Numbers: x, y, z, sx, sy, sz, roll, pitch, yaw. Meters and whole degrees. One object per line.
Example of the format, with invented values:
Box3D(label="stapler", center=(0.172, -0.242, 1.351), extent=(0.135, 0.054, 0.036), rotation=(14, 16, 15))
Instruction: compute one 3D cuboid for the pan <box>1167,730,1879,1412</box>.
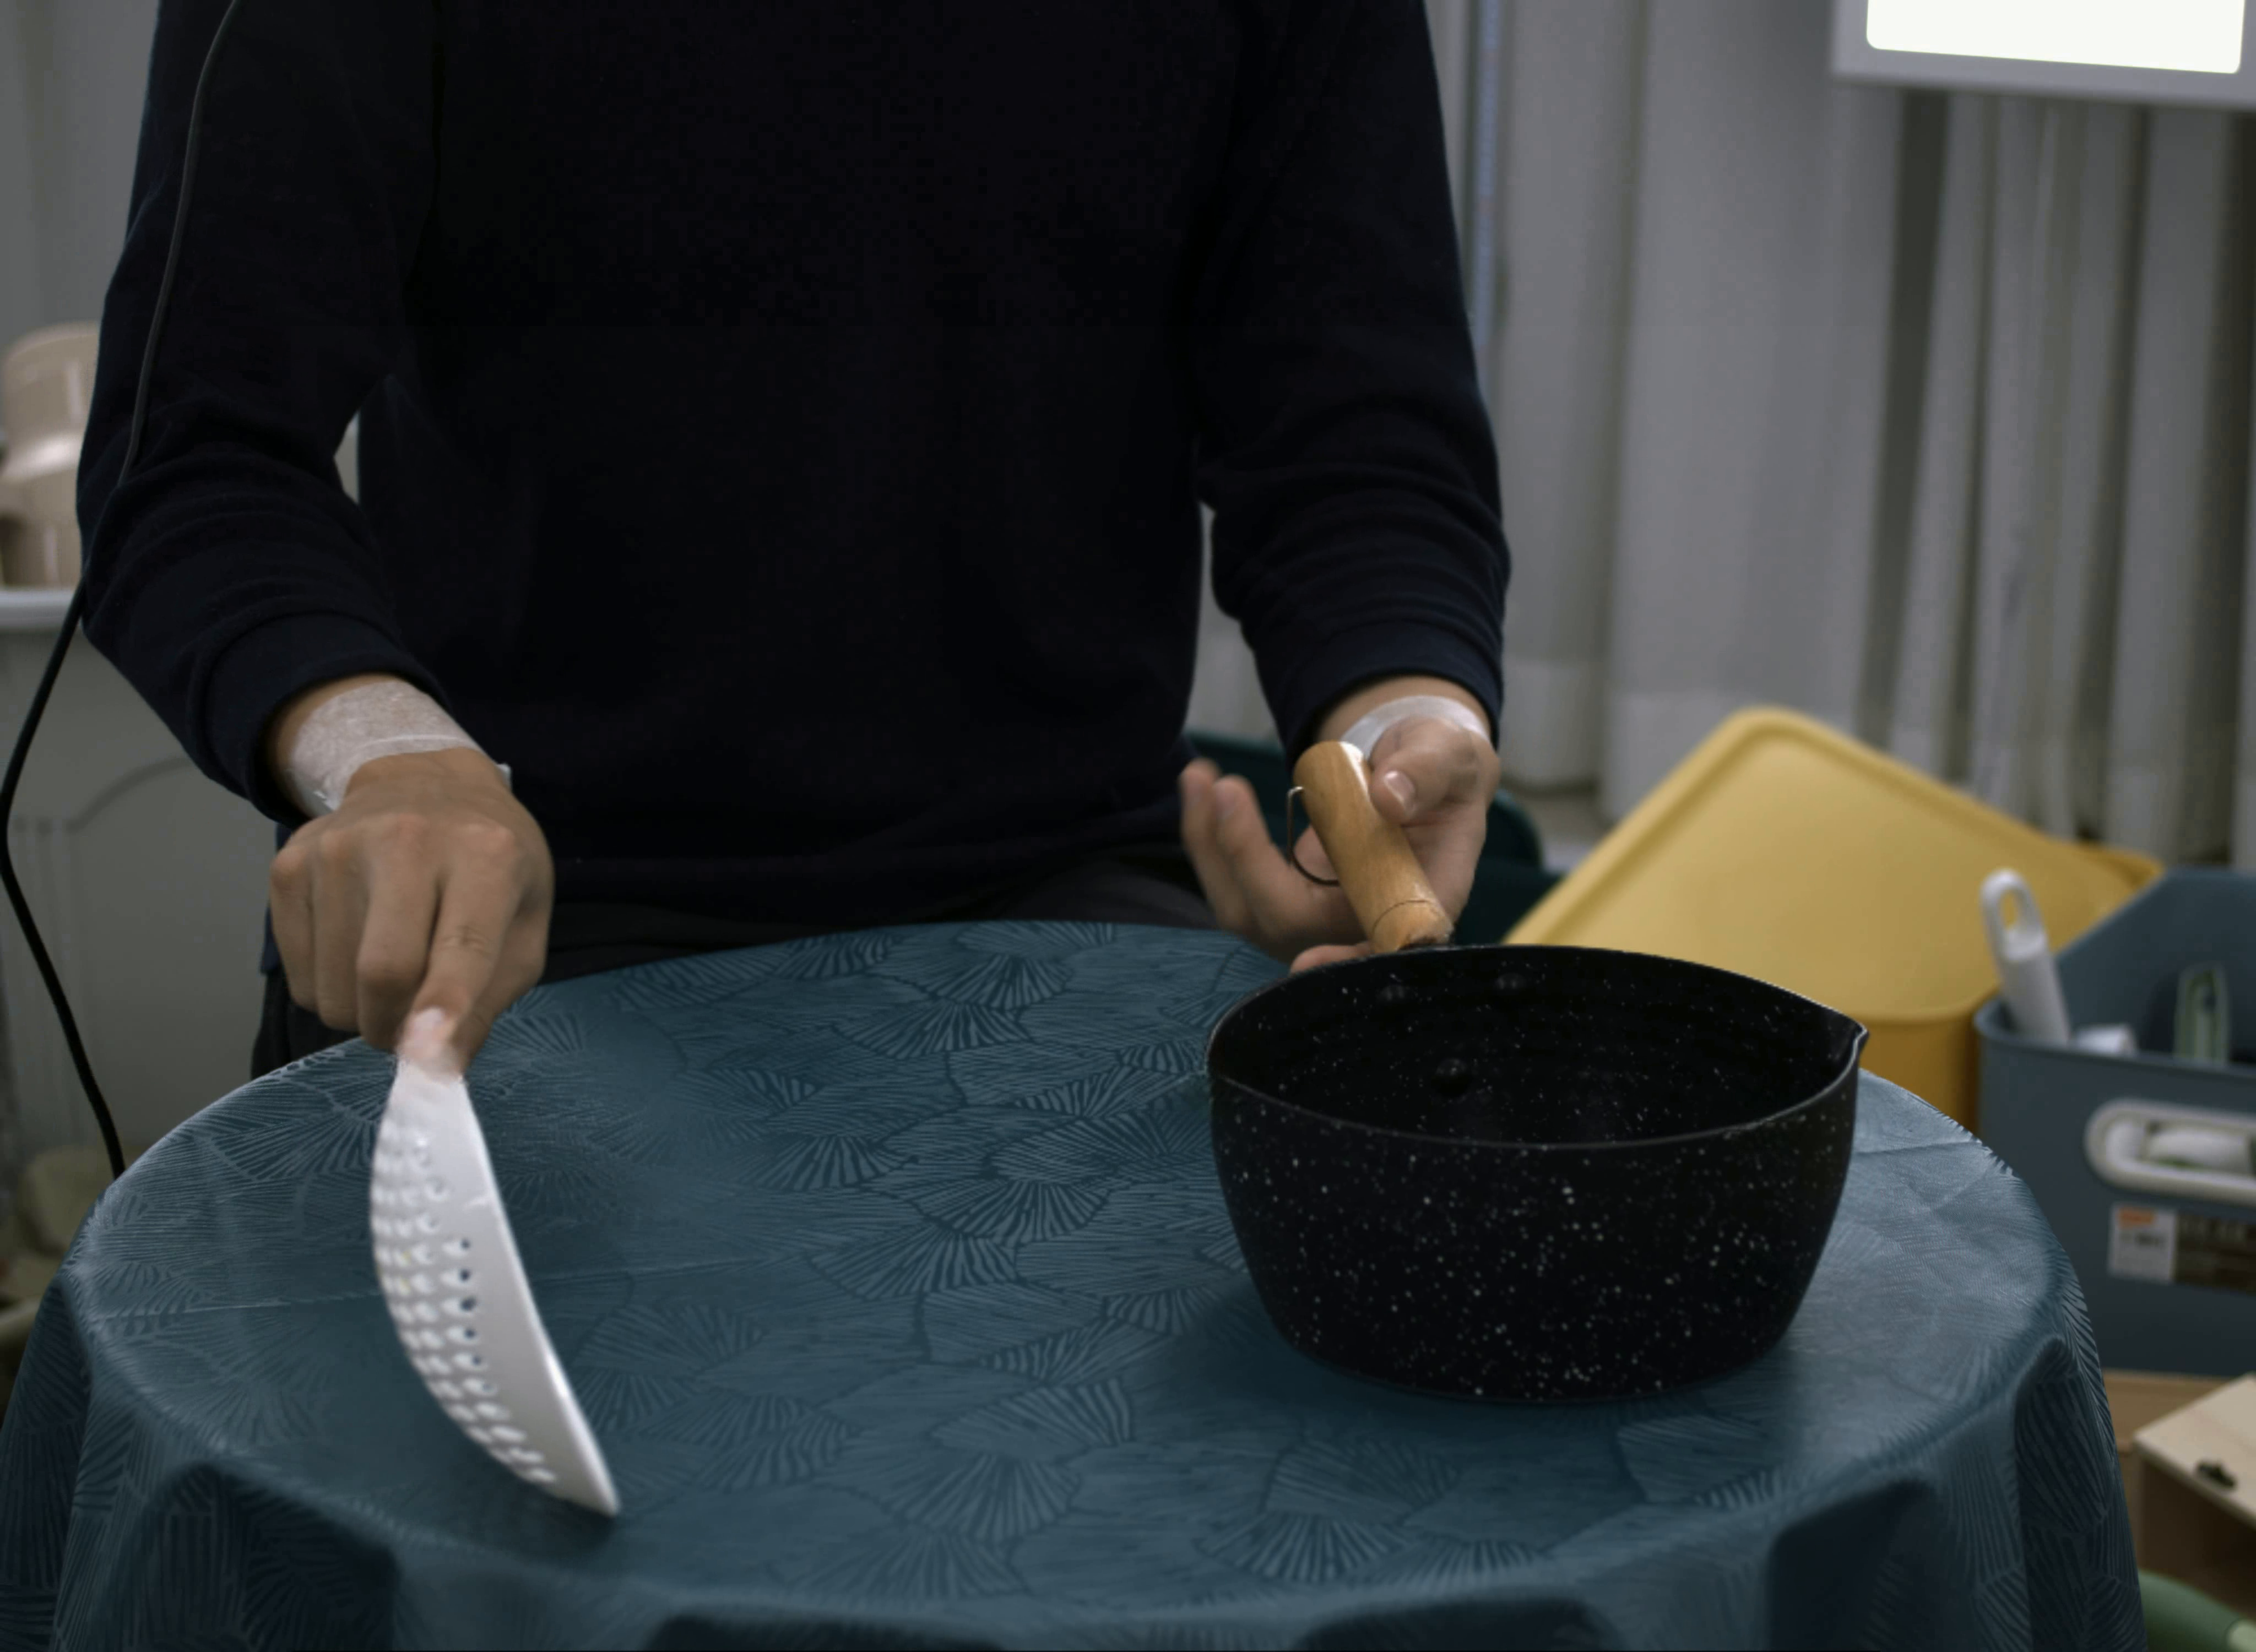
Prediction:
Box3D(label="pan", center=(0.098, 0.068, 1.582), extent=(0.207, 0.109, 0.339), rotation=(-4, 18, -12))

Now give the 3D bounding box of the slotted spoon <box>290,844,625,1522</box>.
Box3D(label="slotted spoon", center=(-0.198, 0.078, 1.464), extent=(0.050, 0.138, 0.344), rotation=(-19, 26, -3))
